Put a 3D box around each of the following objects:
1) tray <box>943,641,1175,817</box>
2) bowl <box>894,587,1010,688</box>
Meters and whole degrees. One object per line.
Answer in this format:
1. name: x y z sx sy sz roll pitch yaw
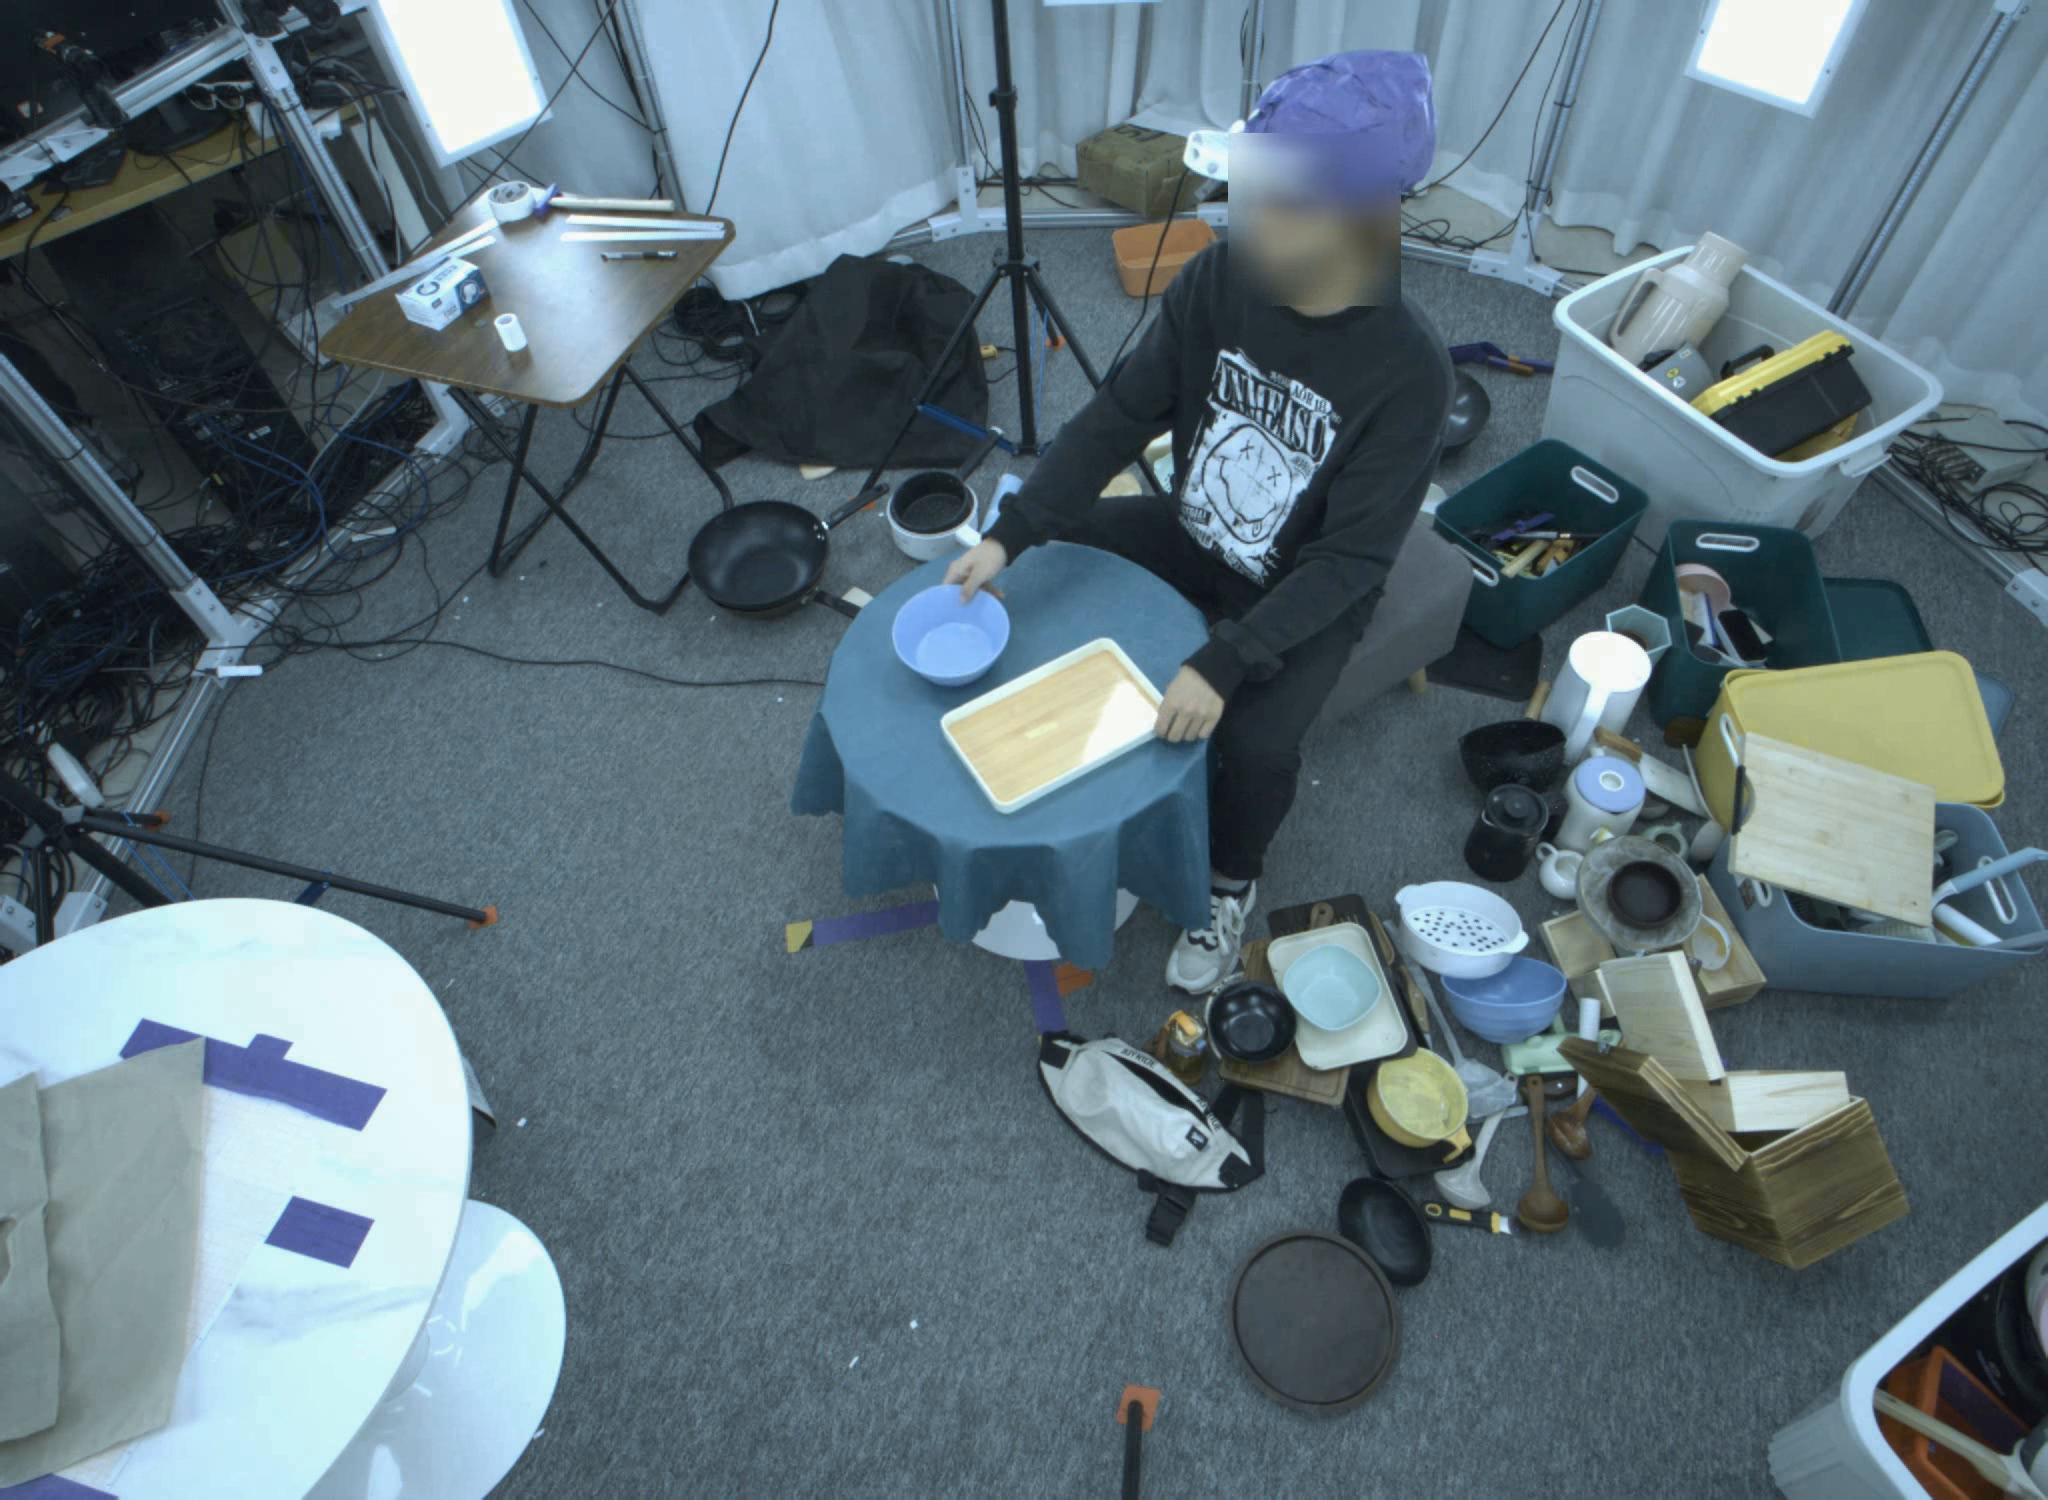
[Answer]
1. tray: 0.052 -0.036 1.805 0.302 0.028 0.188 -27 58 -16
2. bowl: -0.107 -0.161 1.867 0.176 0.071 0.174 0 59 1
